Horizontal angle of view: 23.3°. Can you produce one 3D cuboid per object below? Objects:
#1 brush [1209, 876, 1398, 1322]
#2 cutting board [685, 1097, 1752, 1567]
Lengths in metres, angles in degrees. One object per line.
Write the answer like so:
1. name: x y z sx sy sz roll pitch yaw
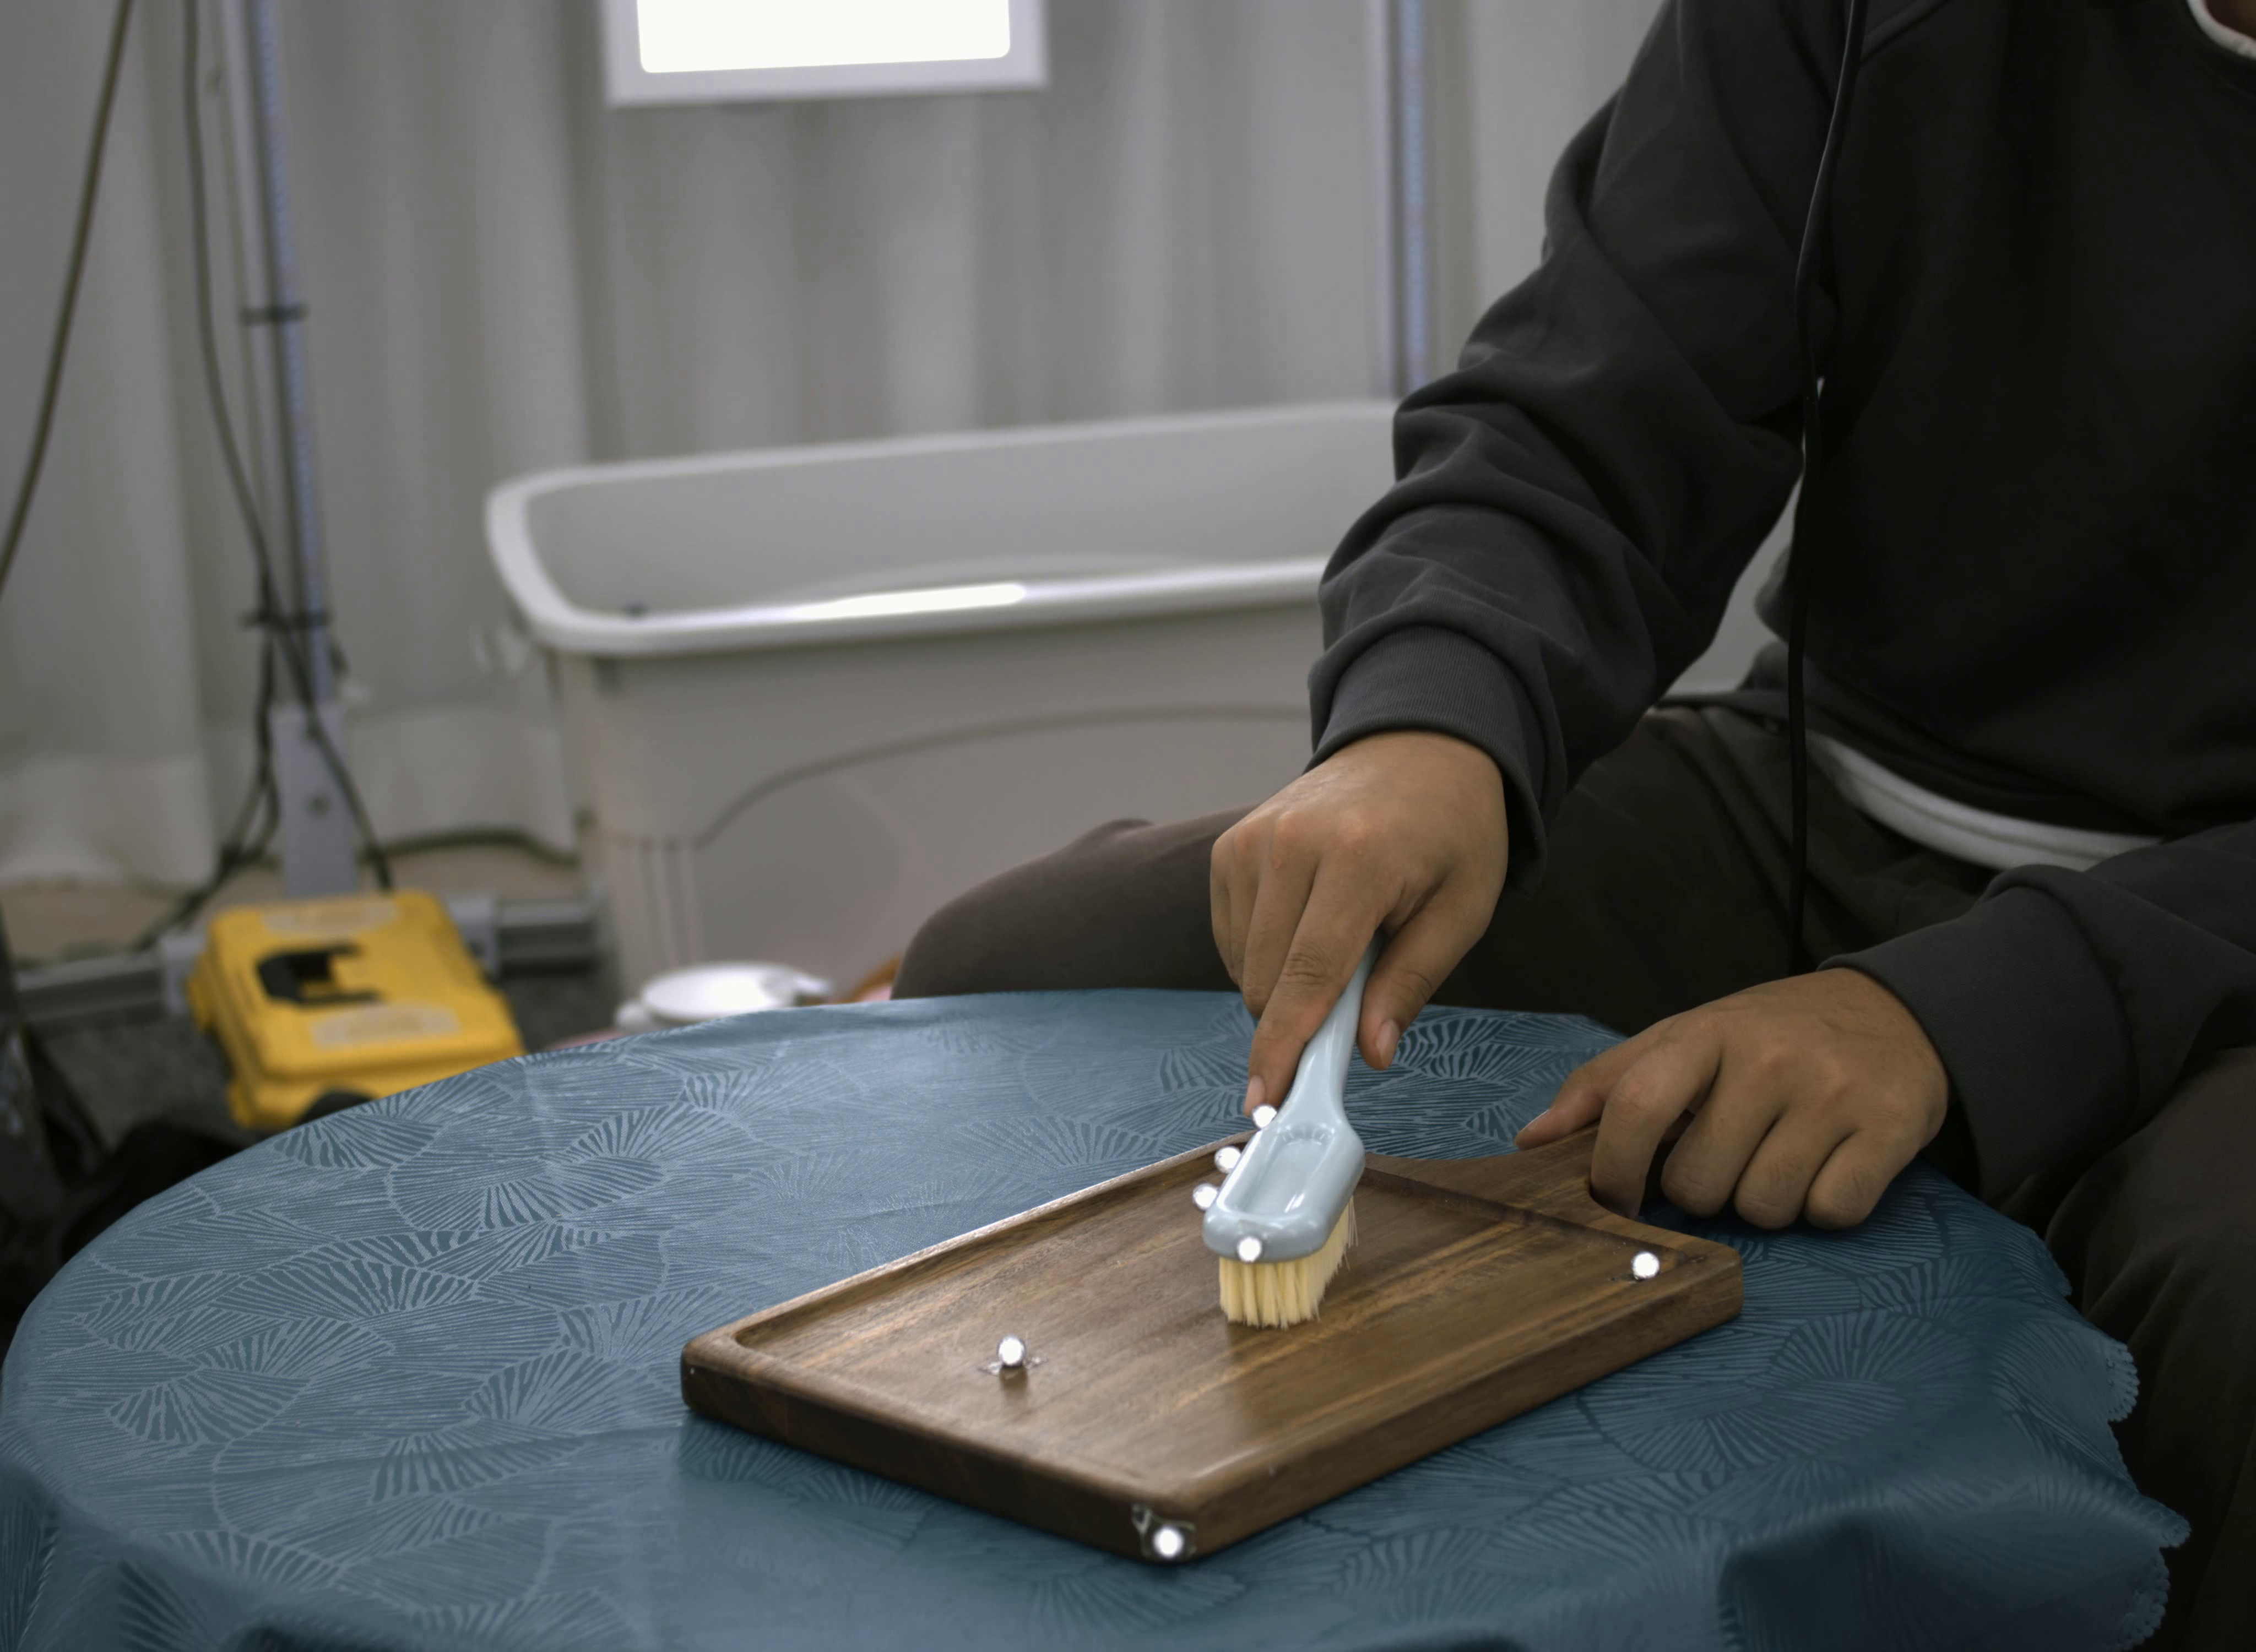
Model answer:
1. brush: 0.058 0.079 1.644 0.038 0.049 0.231 -1 29 10
2. cutting board: 0.062 0.133 1.597 0.202 0.023 0.351 12 21 43
